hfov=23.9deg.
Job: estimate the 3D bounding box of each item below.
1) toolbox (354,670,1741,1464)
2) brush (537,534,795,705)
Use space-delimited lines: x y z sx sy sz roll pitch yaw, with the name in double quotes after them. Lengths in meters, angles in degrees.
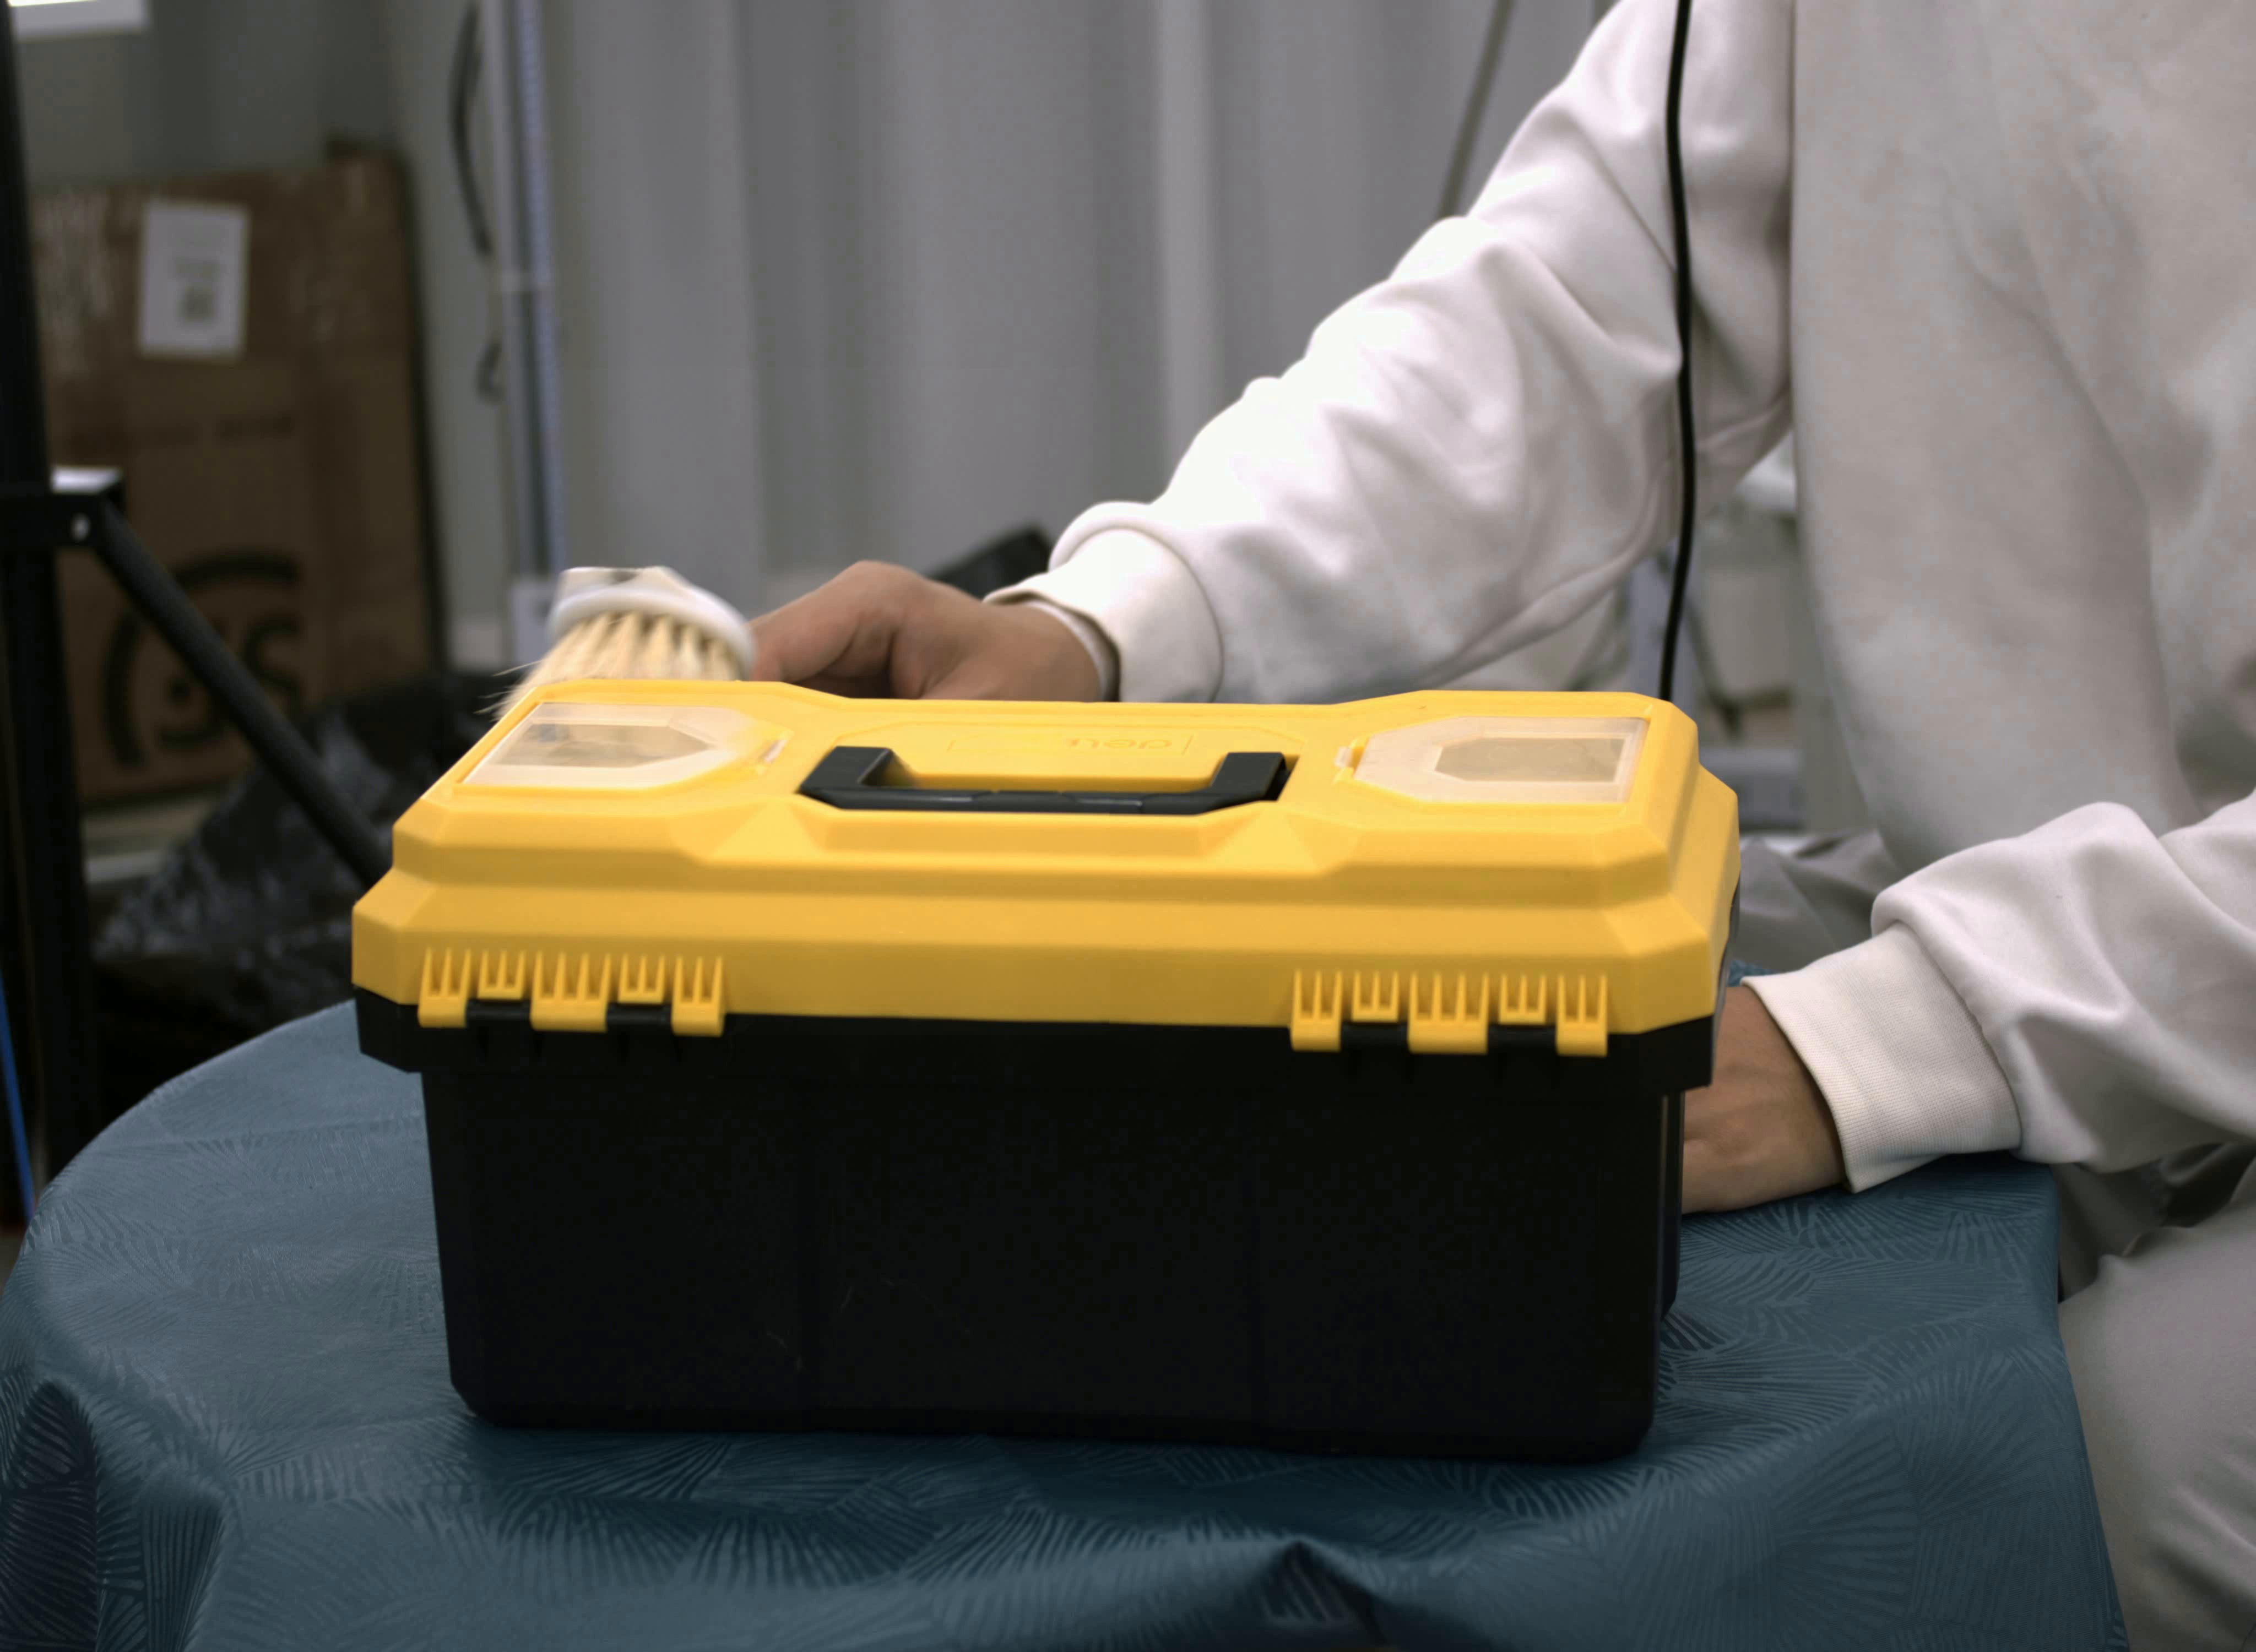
-0.015 0.061 1.411 0.353 0.173 0.180 1 17 11 "toolbox"
-0.102 -0.013 1.604 0.069 0.056 0.262 14 -15 21 "brush"
